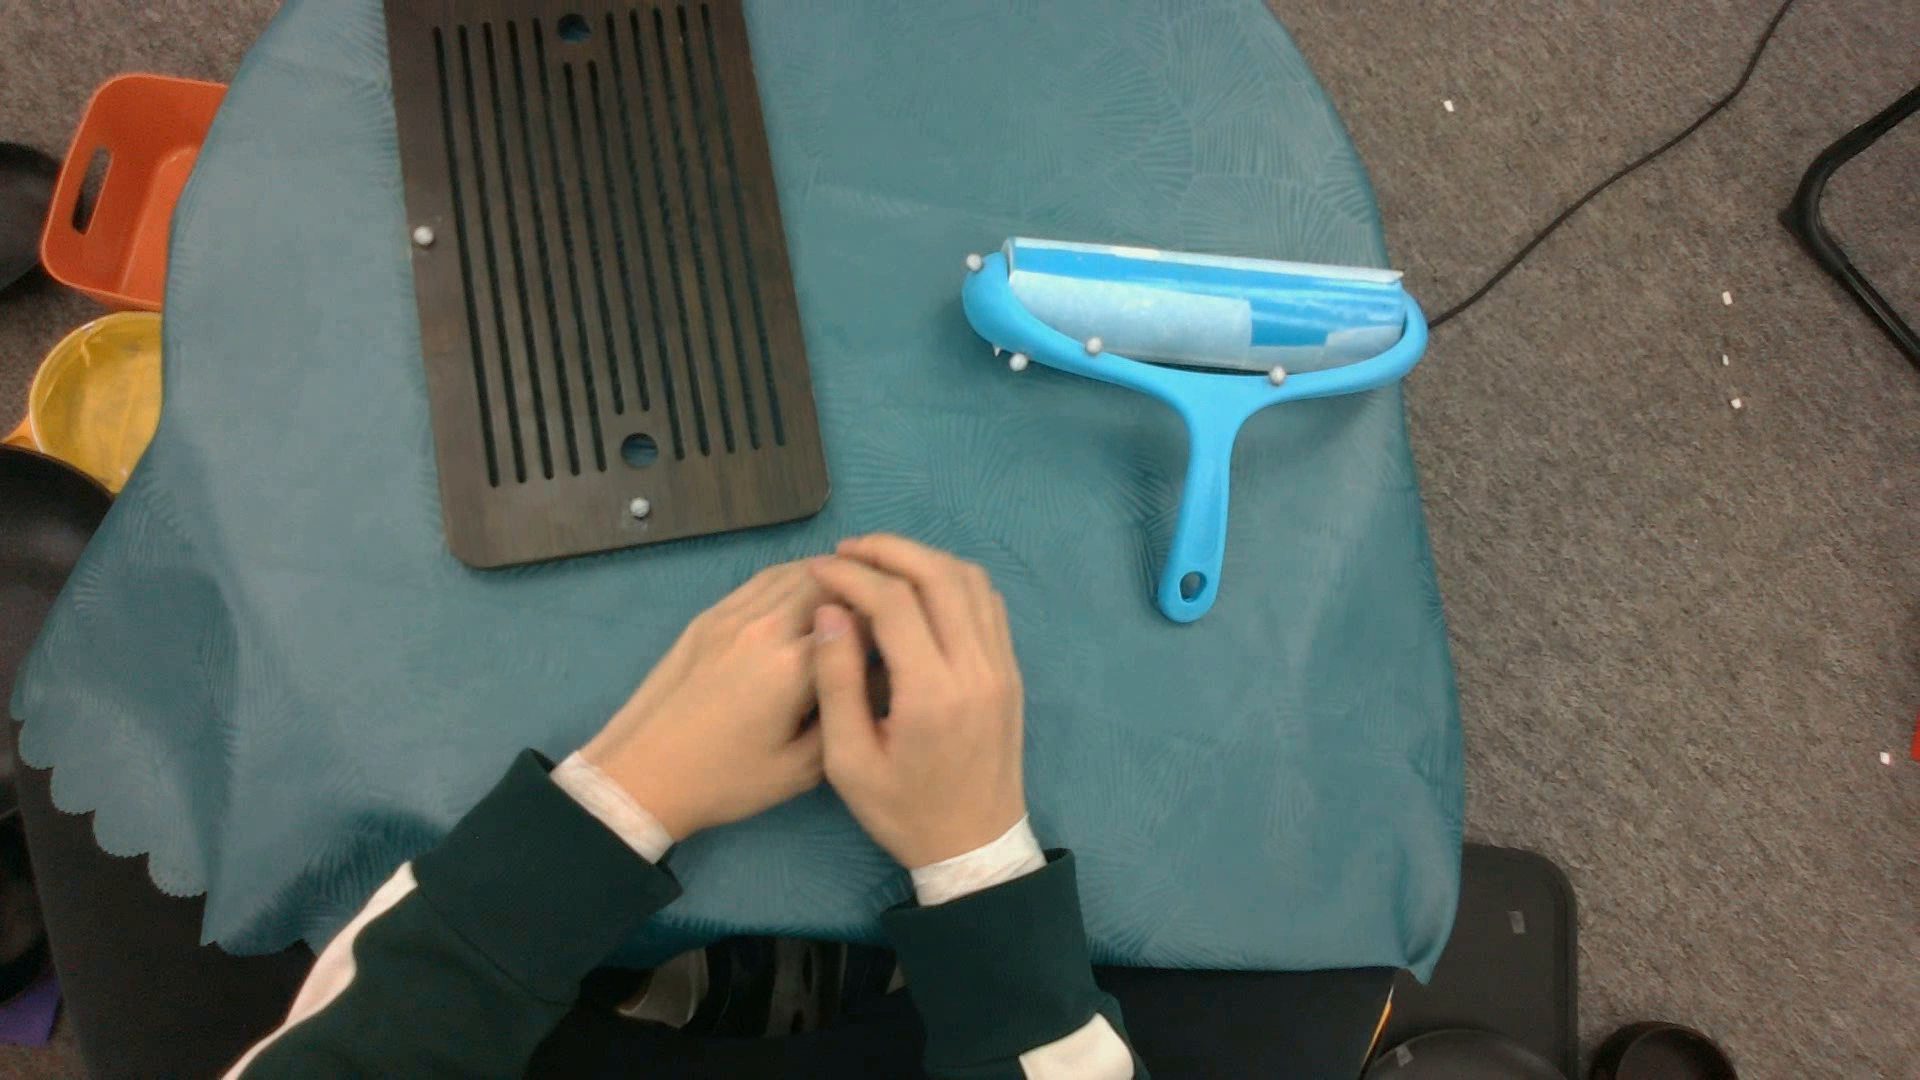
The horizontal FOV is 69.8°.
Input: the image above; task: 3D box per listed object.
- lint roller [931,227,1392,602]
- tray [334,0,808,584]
[{"bbox_3d":[0.104,-0.065,0.660,0.229,0.067,0.180,-1,74,-11],"label":"lint roller"},{"bbox_3d":[-0.187,-0.138,0.655,0.170,0.018,0.306,-12,78,-12],"label":"tray"}]
